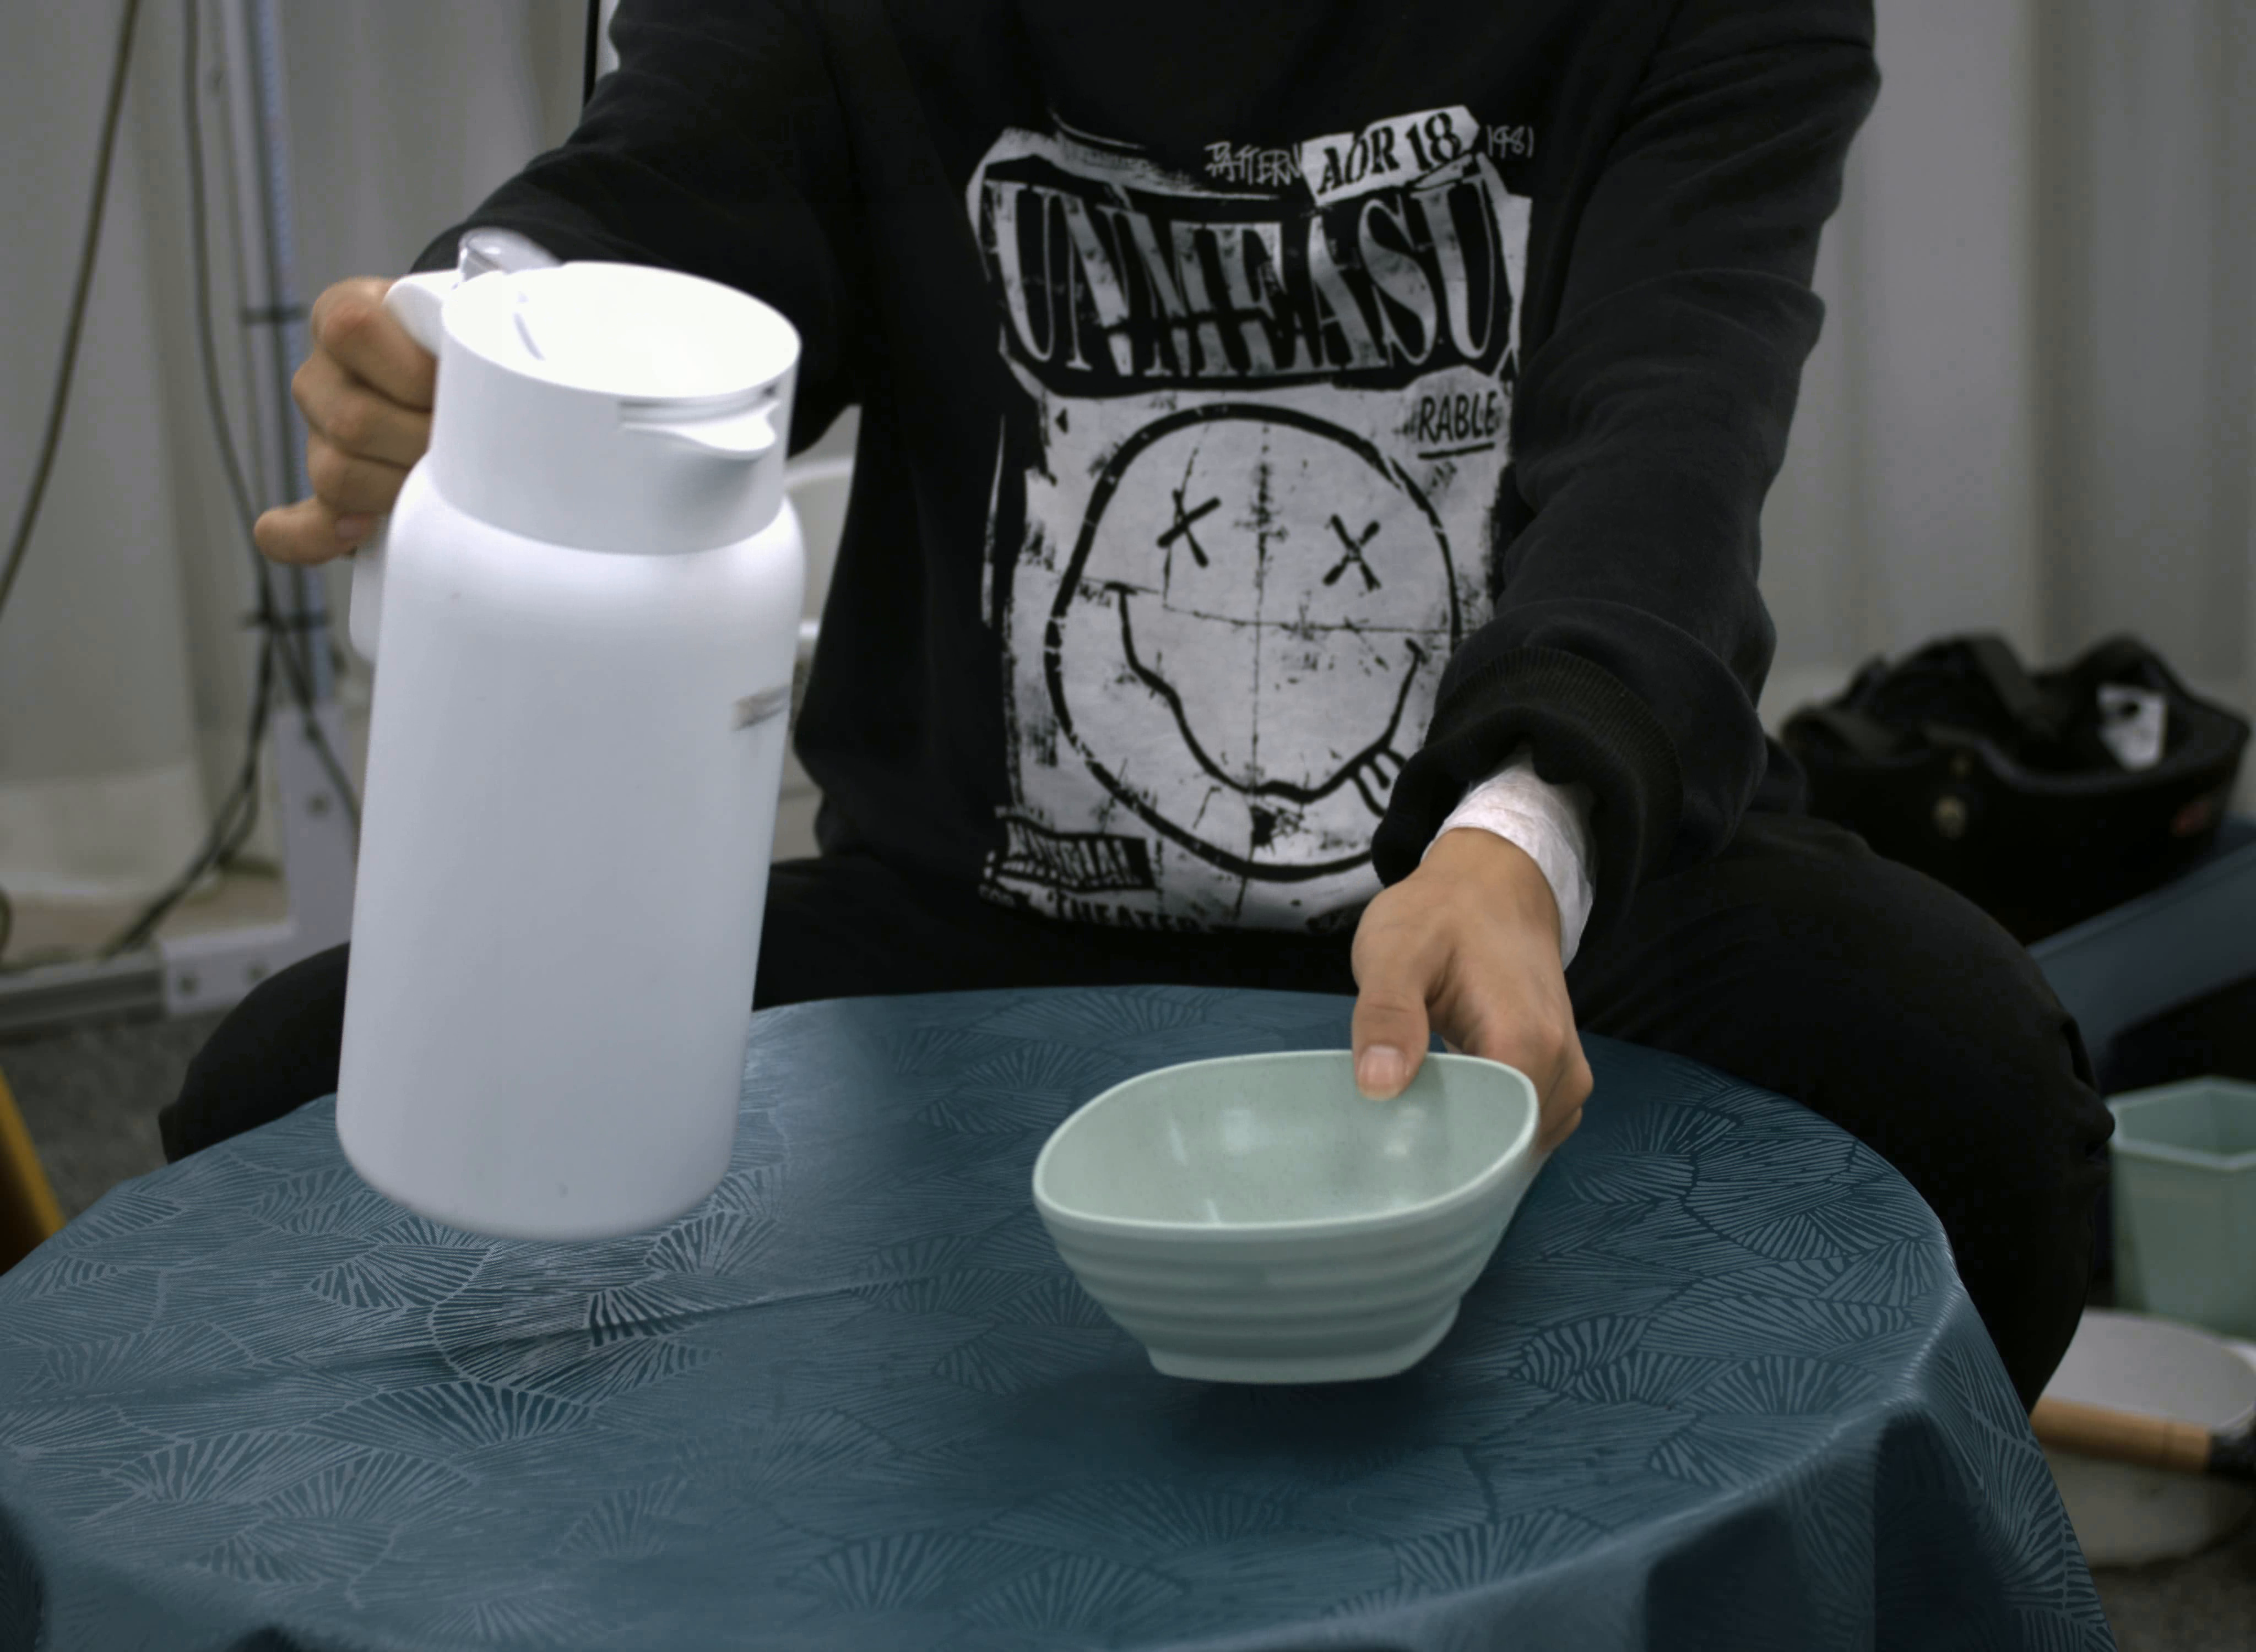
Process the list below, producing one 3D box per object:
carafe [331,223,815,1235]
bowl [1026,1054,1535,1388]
[{"bbox_3d":[-0.167,-0.031,1.569,0.123,0.266,0.174,-13,34,-37],"label":"carafe"},{"bbox_3d":[0.045,0.114,1.527,0.151,0.058,0.152,-6,16,1],"label":"bowl"}]
